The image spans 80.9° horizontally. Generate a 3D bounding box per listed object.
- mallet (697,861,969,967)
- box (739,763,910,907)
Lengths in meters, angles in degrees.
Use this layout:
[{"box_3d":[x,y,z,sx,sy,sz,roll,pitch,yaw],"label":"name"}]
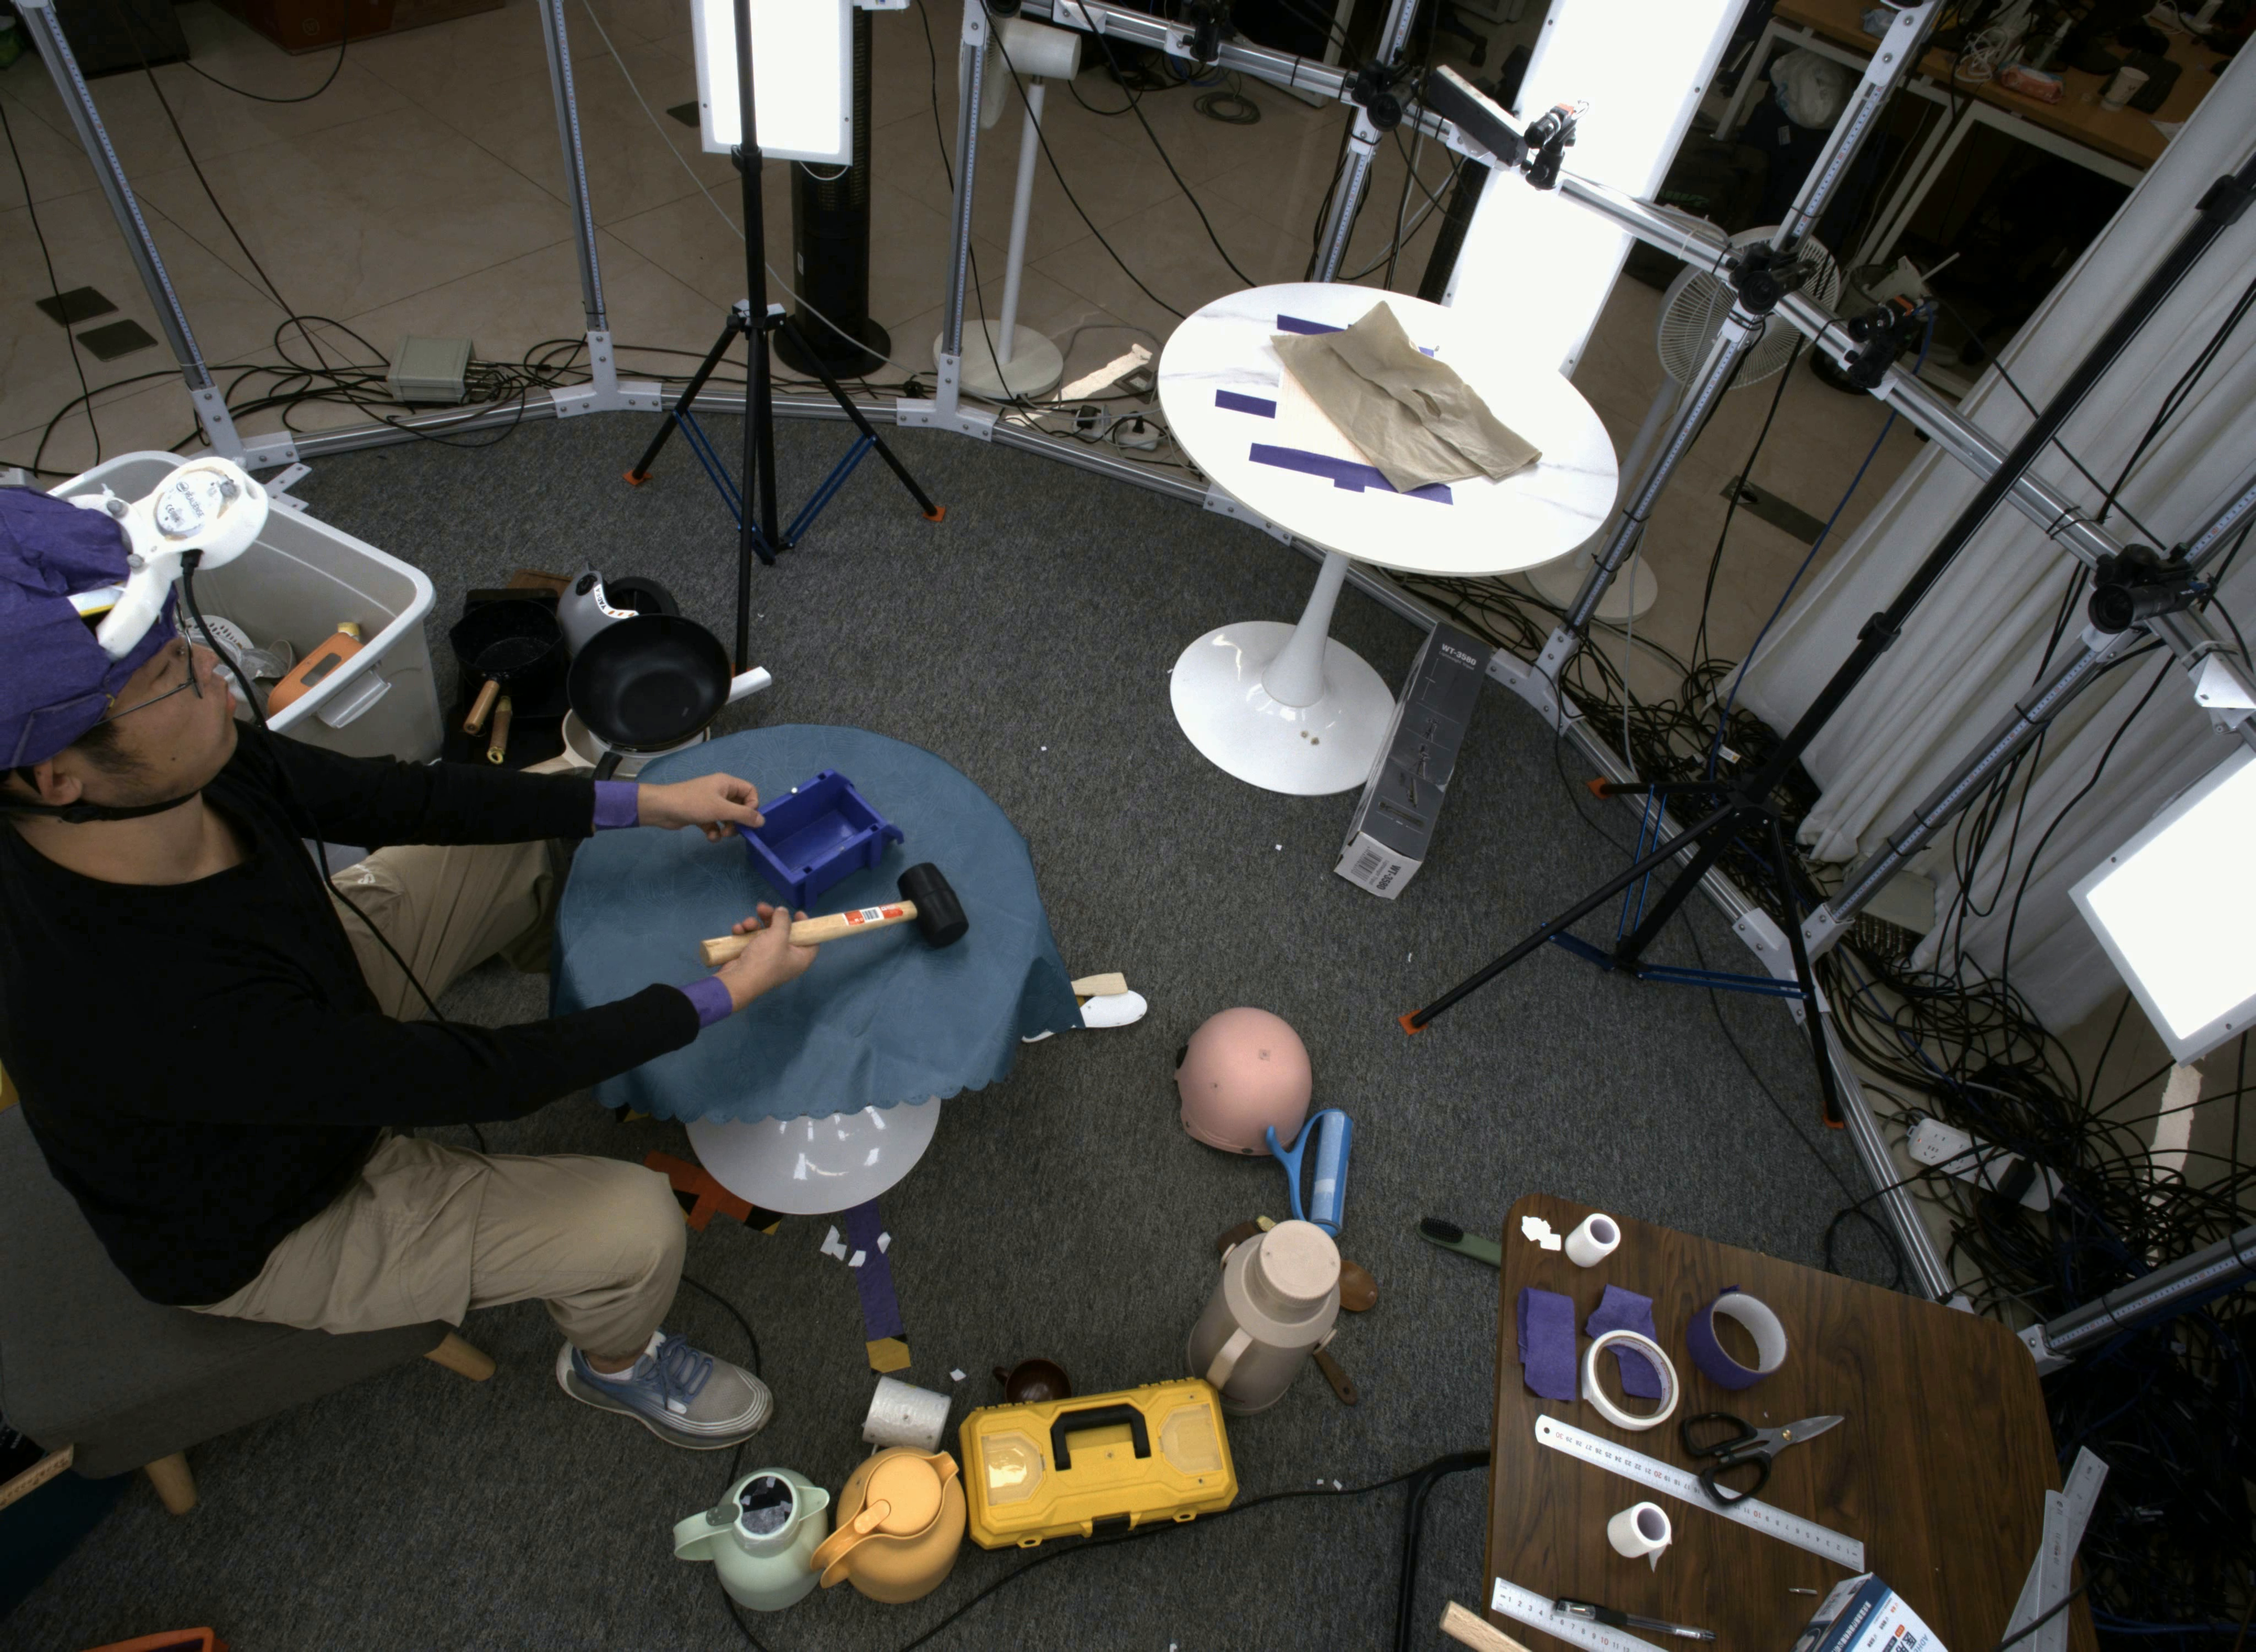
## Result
[{"box_3d":[-0.348,0.112,1.556,0.344,0.065,0.099,-8,52,-44],"label":"mallet"},{"box_3d":[-0.390,0.005,1.673,0.180,0.083,0.122,-36,68,-29],"label":"box"}]
